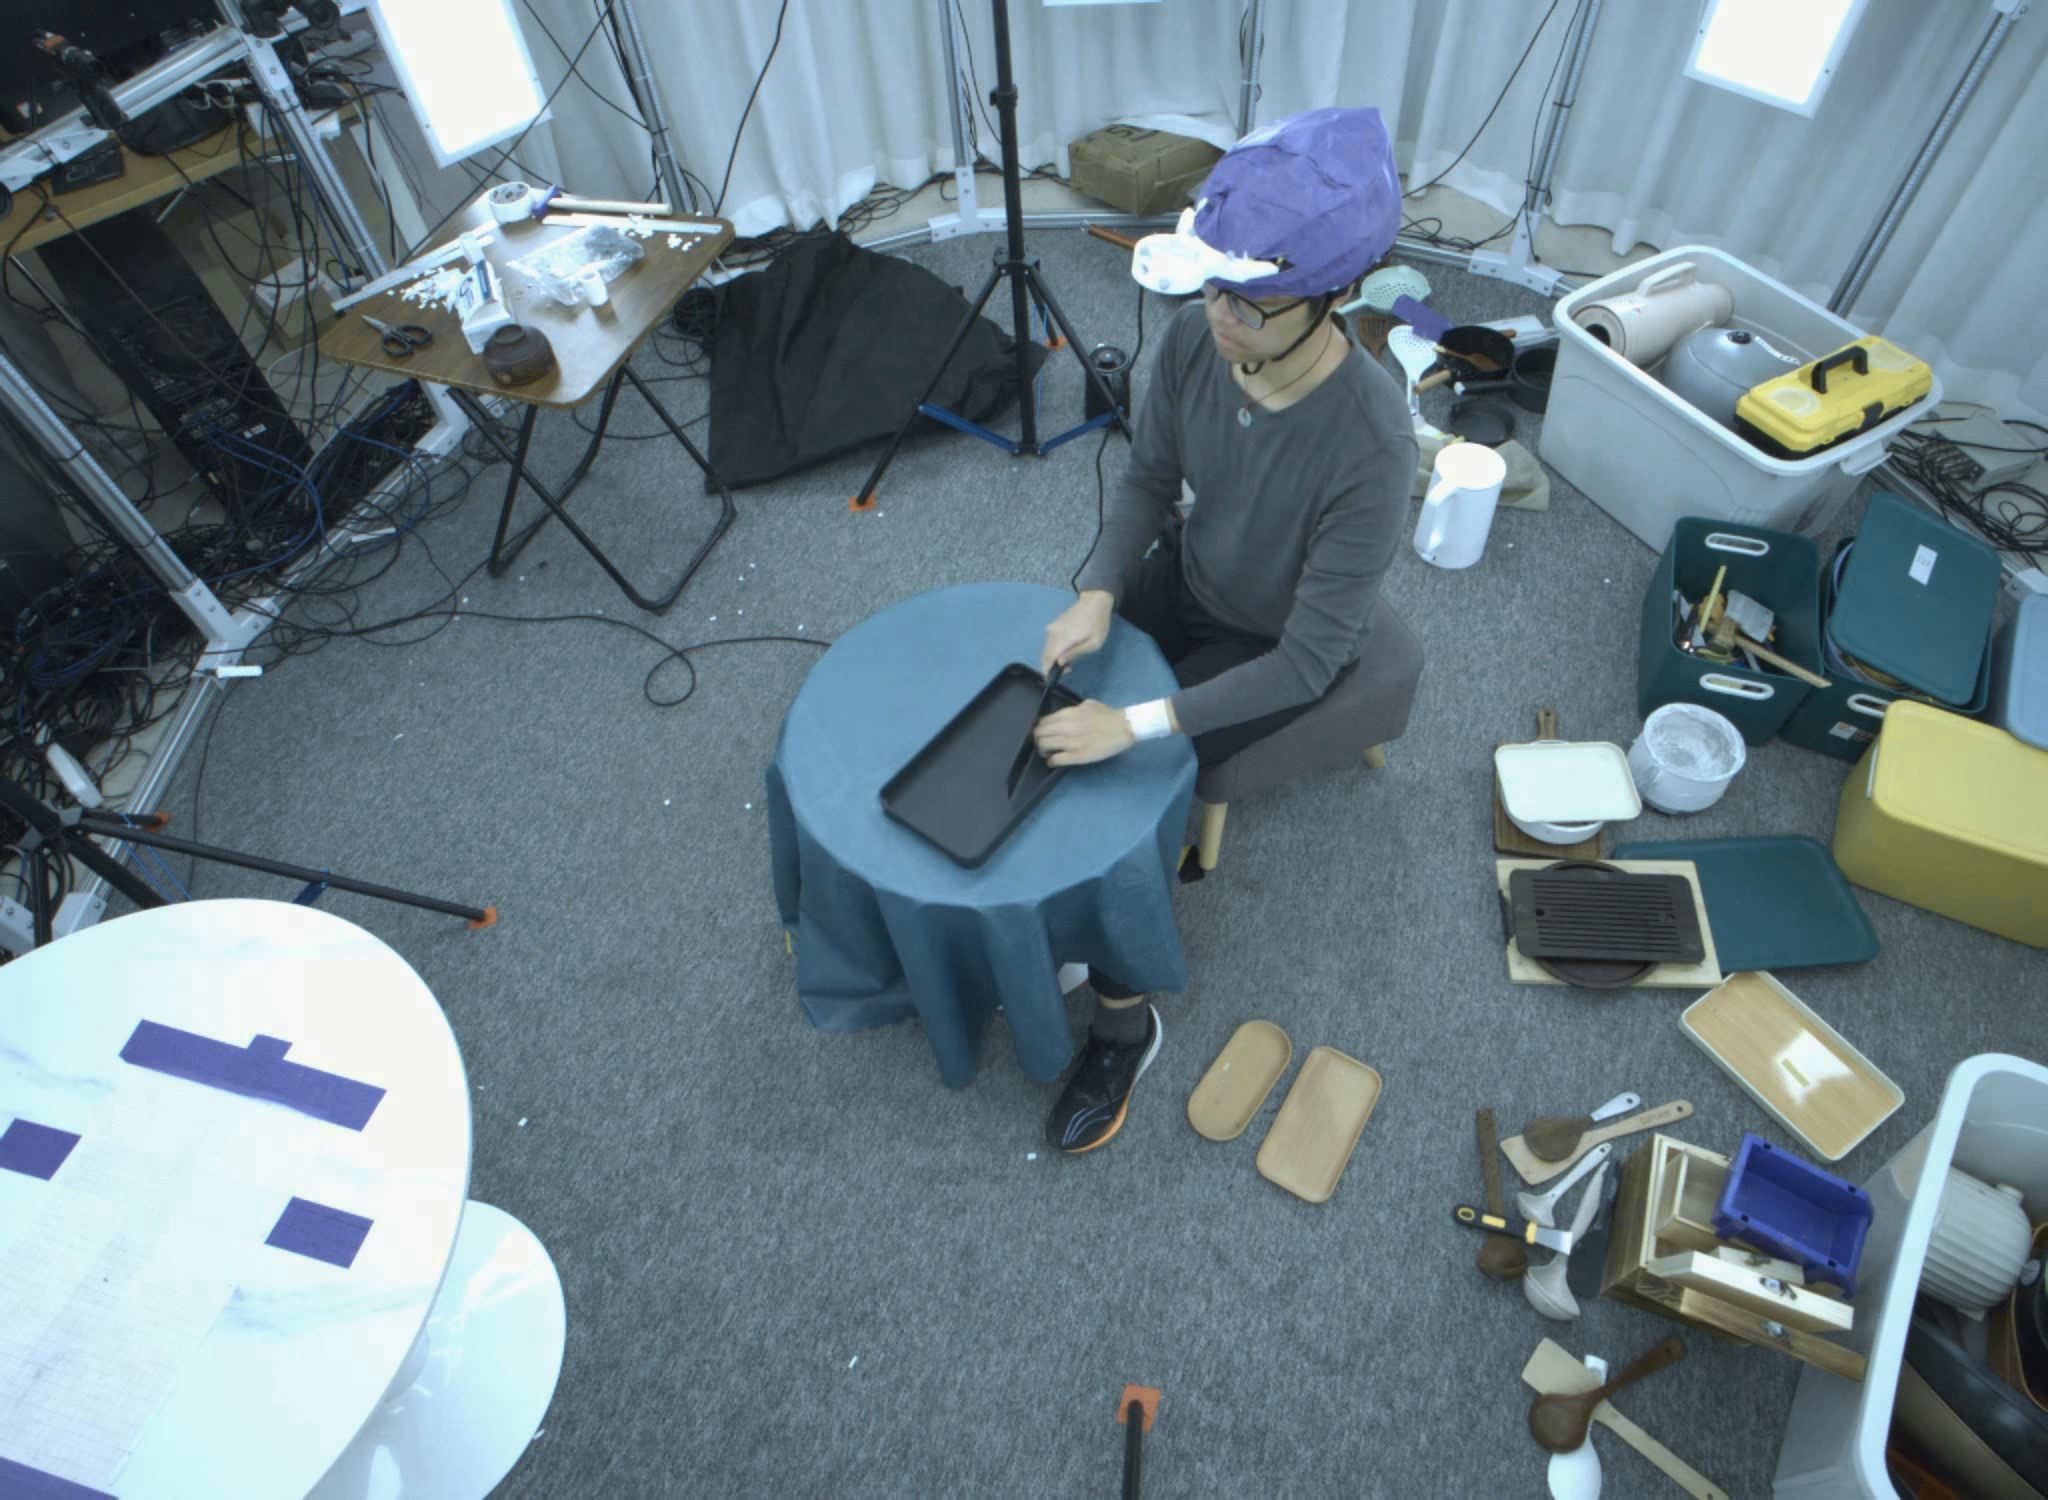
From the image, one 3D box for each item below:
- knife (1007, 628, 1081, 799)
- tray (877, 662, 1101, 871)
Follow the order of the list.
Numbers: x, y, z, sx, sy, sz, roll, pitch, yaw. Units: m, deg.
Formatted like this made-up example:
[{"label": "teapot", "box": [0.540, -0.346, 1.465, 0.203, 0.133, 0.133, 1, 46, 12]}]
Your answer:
[{"label": "knife", "box": [0.028, -0.061, 1.783, 0.020, 0.082, 0.302, 16, 59, 12]}, {"label": "tray", "box": [-0.047, 0.017, 1.761, 0.181, 0.037, 0.319, 30, 61, 21]}]
